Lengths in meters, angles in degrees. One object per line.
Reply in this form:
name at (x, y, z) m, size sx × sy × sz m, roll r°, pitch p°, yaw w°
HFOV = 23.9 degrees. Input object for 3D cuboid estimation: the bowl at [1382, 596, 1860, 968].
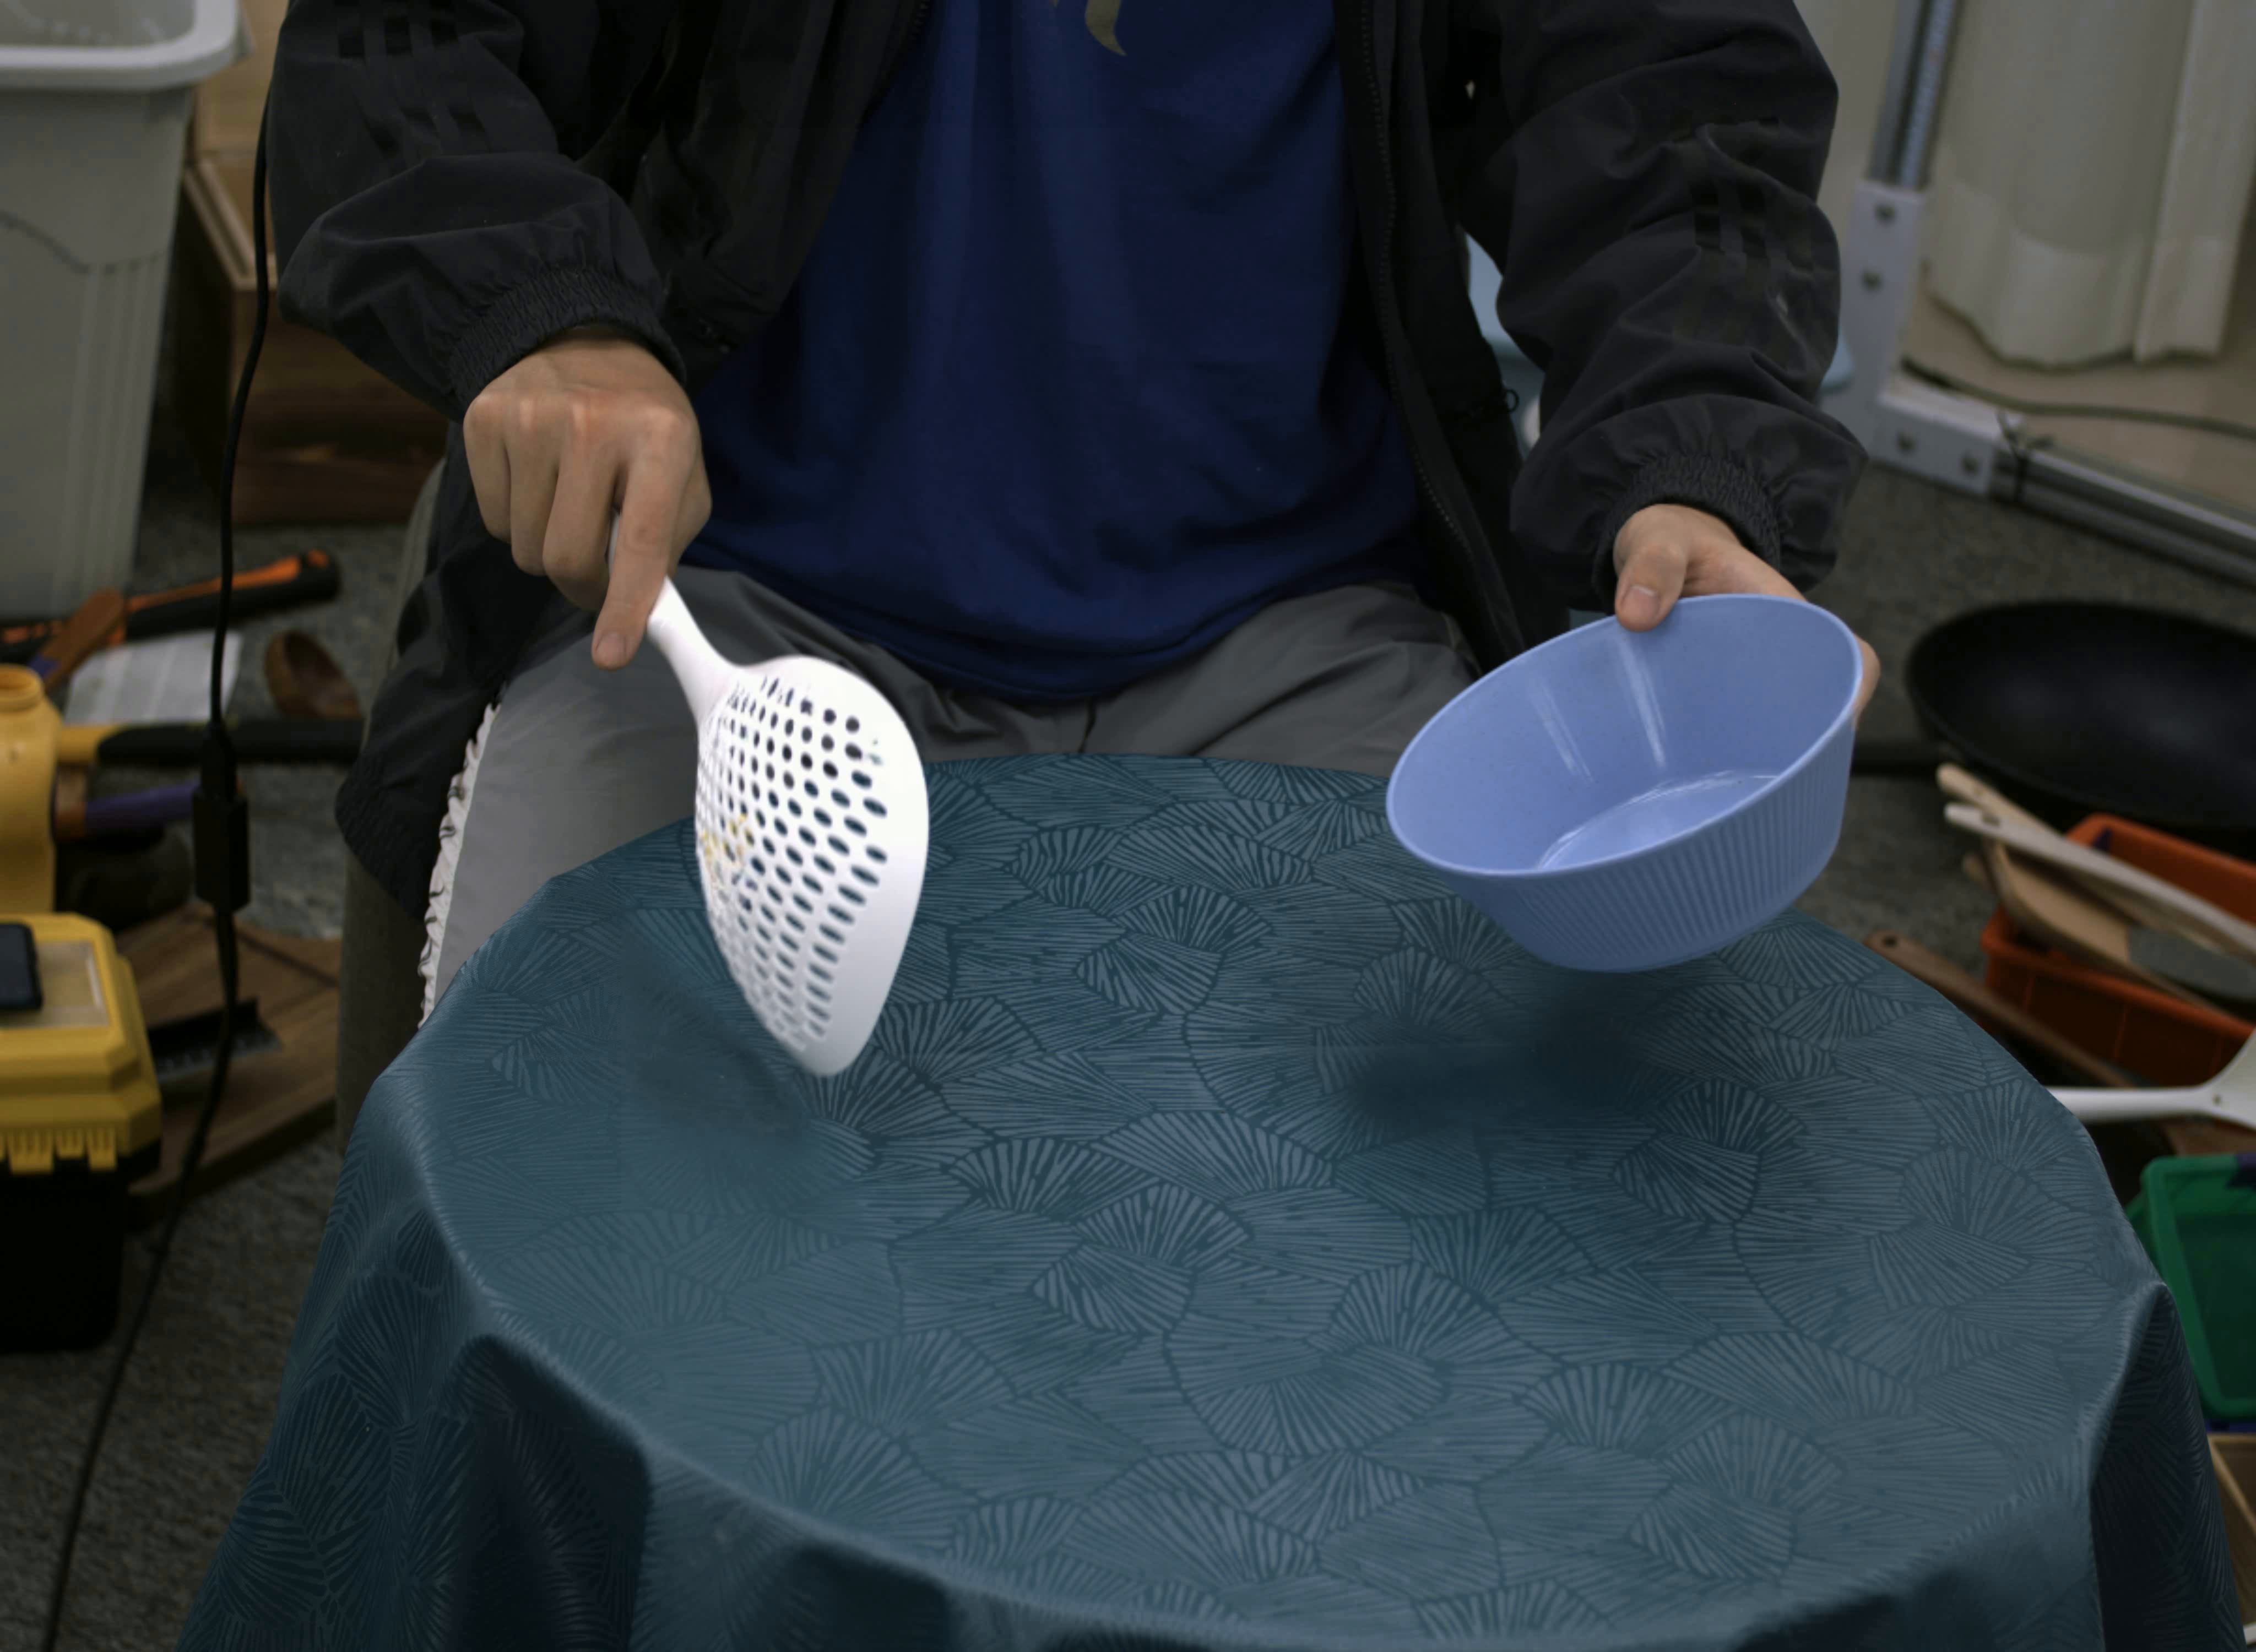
bowl at (0.183, -0.008, 1.876) m, size 0.176 × 0.070 × 0.177 m, roll -20°, pitch 26°, yaw 9°

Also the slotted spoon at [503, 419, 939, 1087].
slotted spoon at (-0.155, -0.043, 1.898) m, size 0.050 × 0.136 × 0.351 m, roll 3°, pitch 33°, yaw -27°
